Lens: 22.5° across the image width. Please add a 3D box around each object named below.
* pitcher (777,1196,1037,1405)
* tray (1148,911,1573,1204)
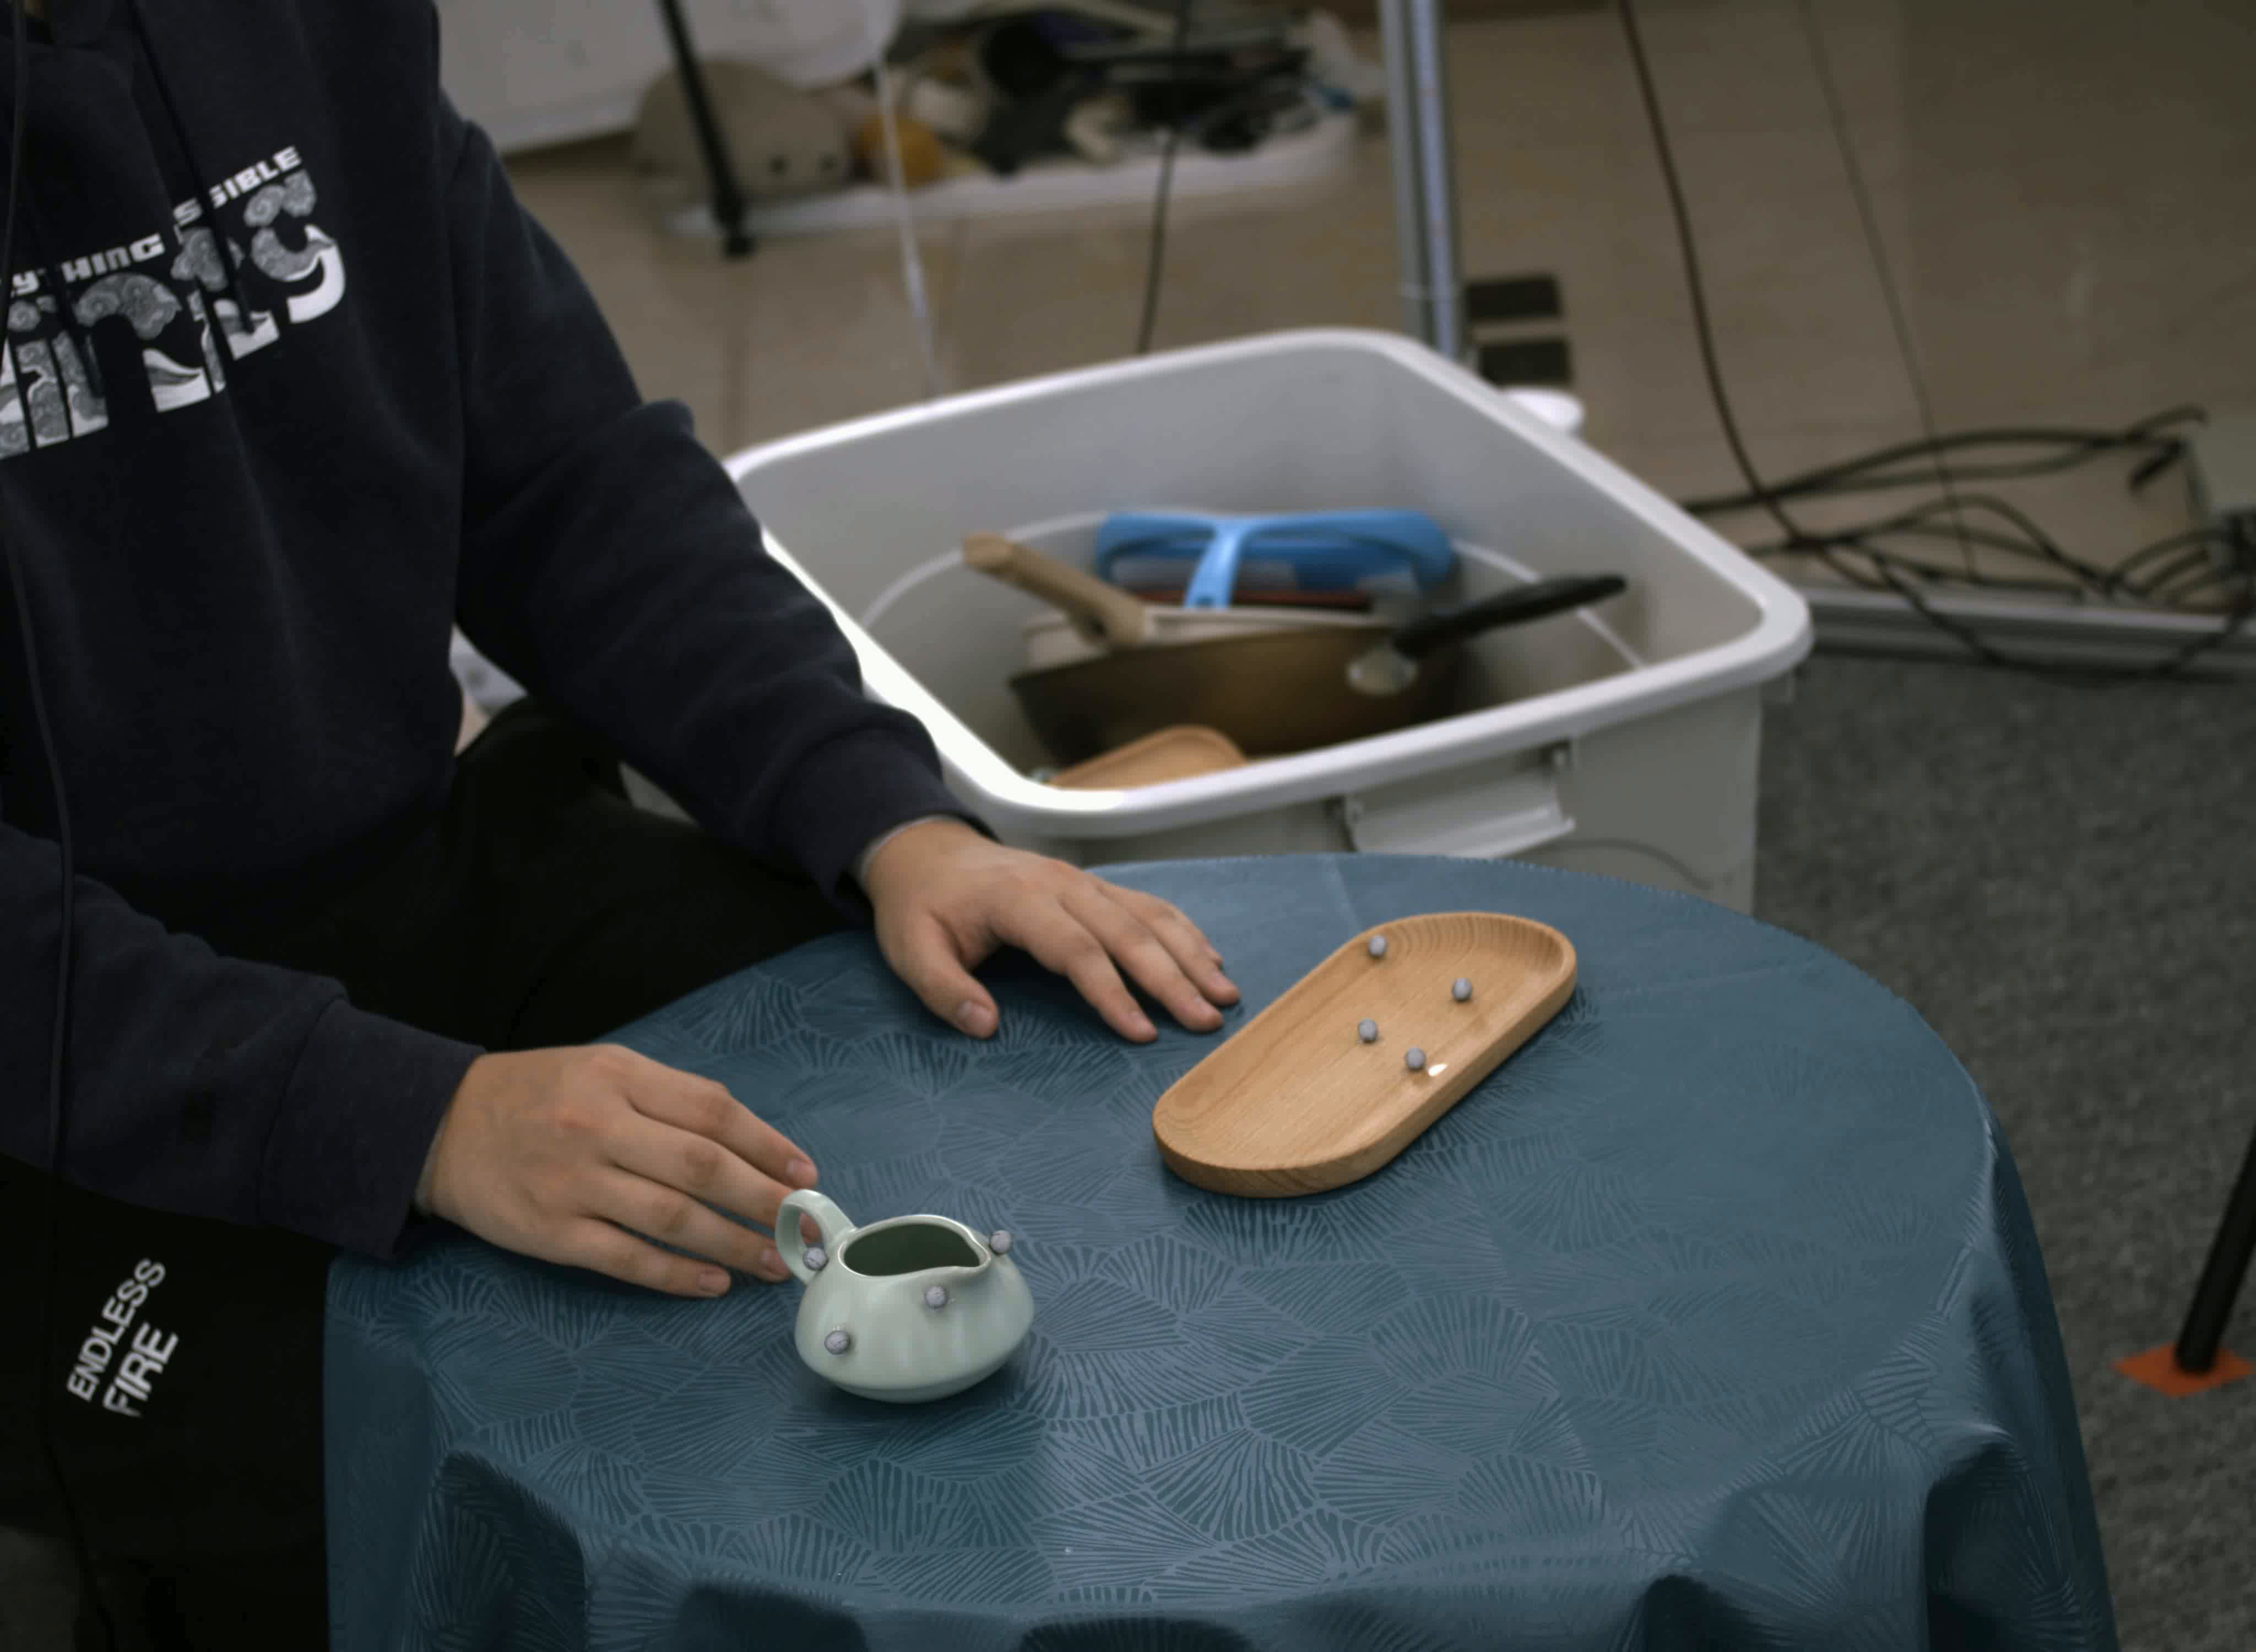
[{"bbox_3d":[-0.085,0.169,2.037,0.107,0.061,0.085,12,30,39],"label":"pitcher"},{"bbox_3d":[0.093,0.089,2.216,0.101,0.020,0.228,8,30,32],"label":"tray"}]
